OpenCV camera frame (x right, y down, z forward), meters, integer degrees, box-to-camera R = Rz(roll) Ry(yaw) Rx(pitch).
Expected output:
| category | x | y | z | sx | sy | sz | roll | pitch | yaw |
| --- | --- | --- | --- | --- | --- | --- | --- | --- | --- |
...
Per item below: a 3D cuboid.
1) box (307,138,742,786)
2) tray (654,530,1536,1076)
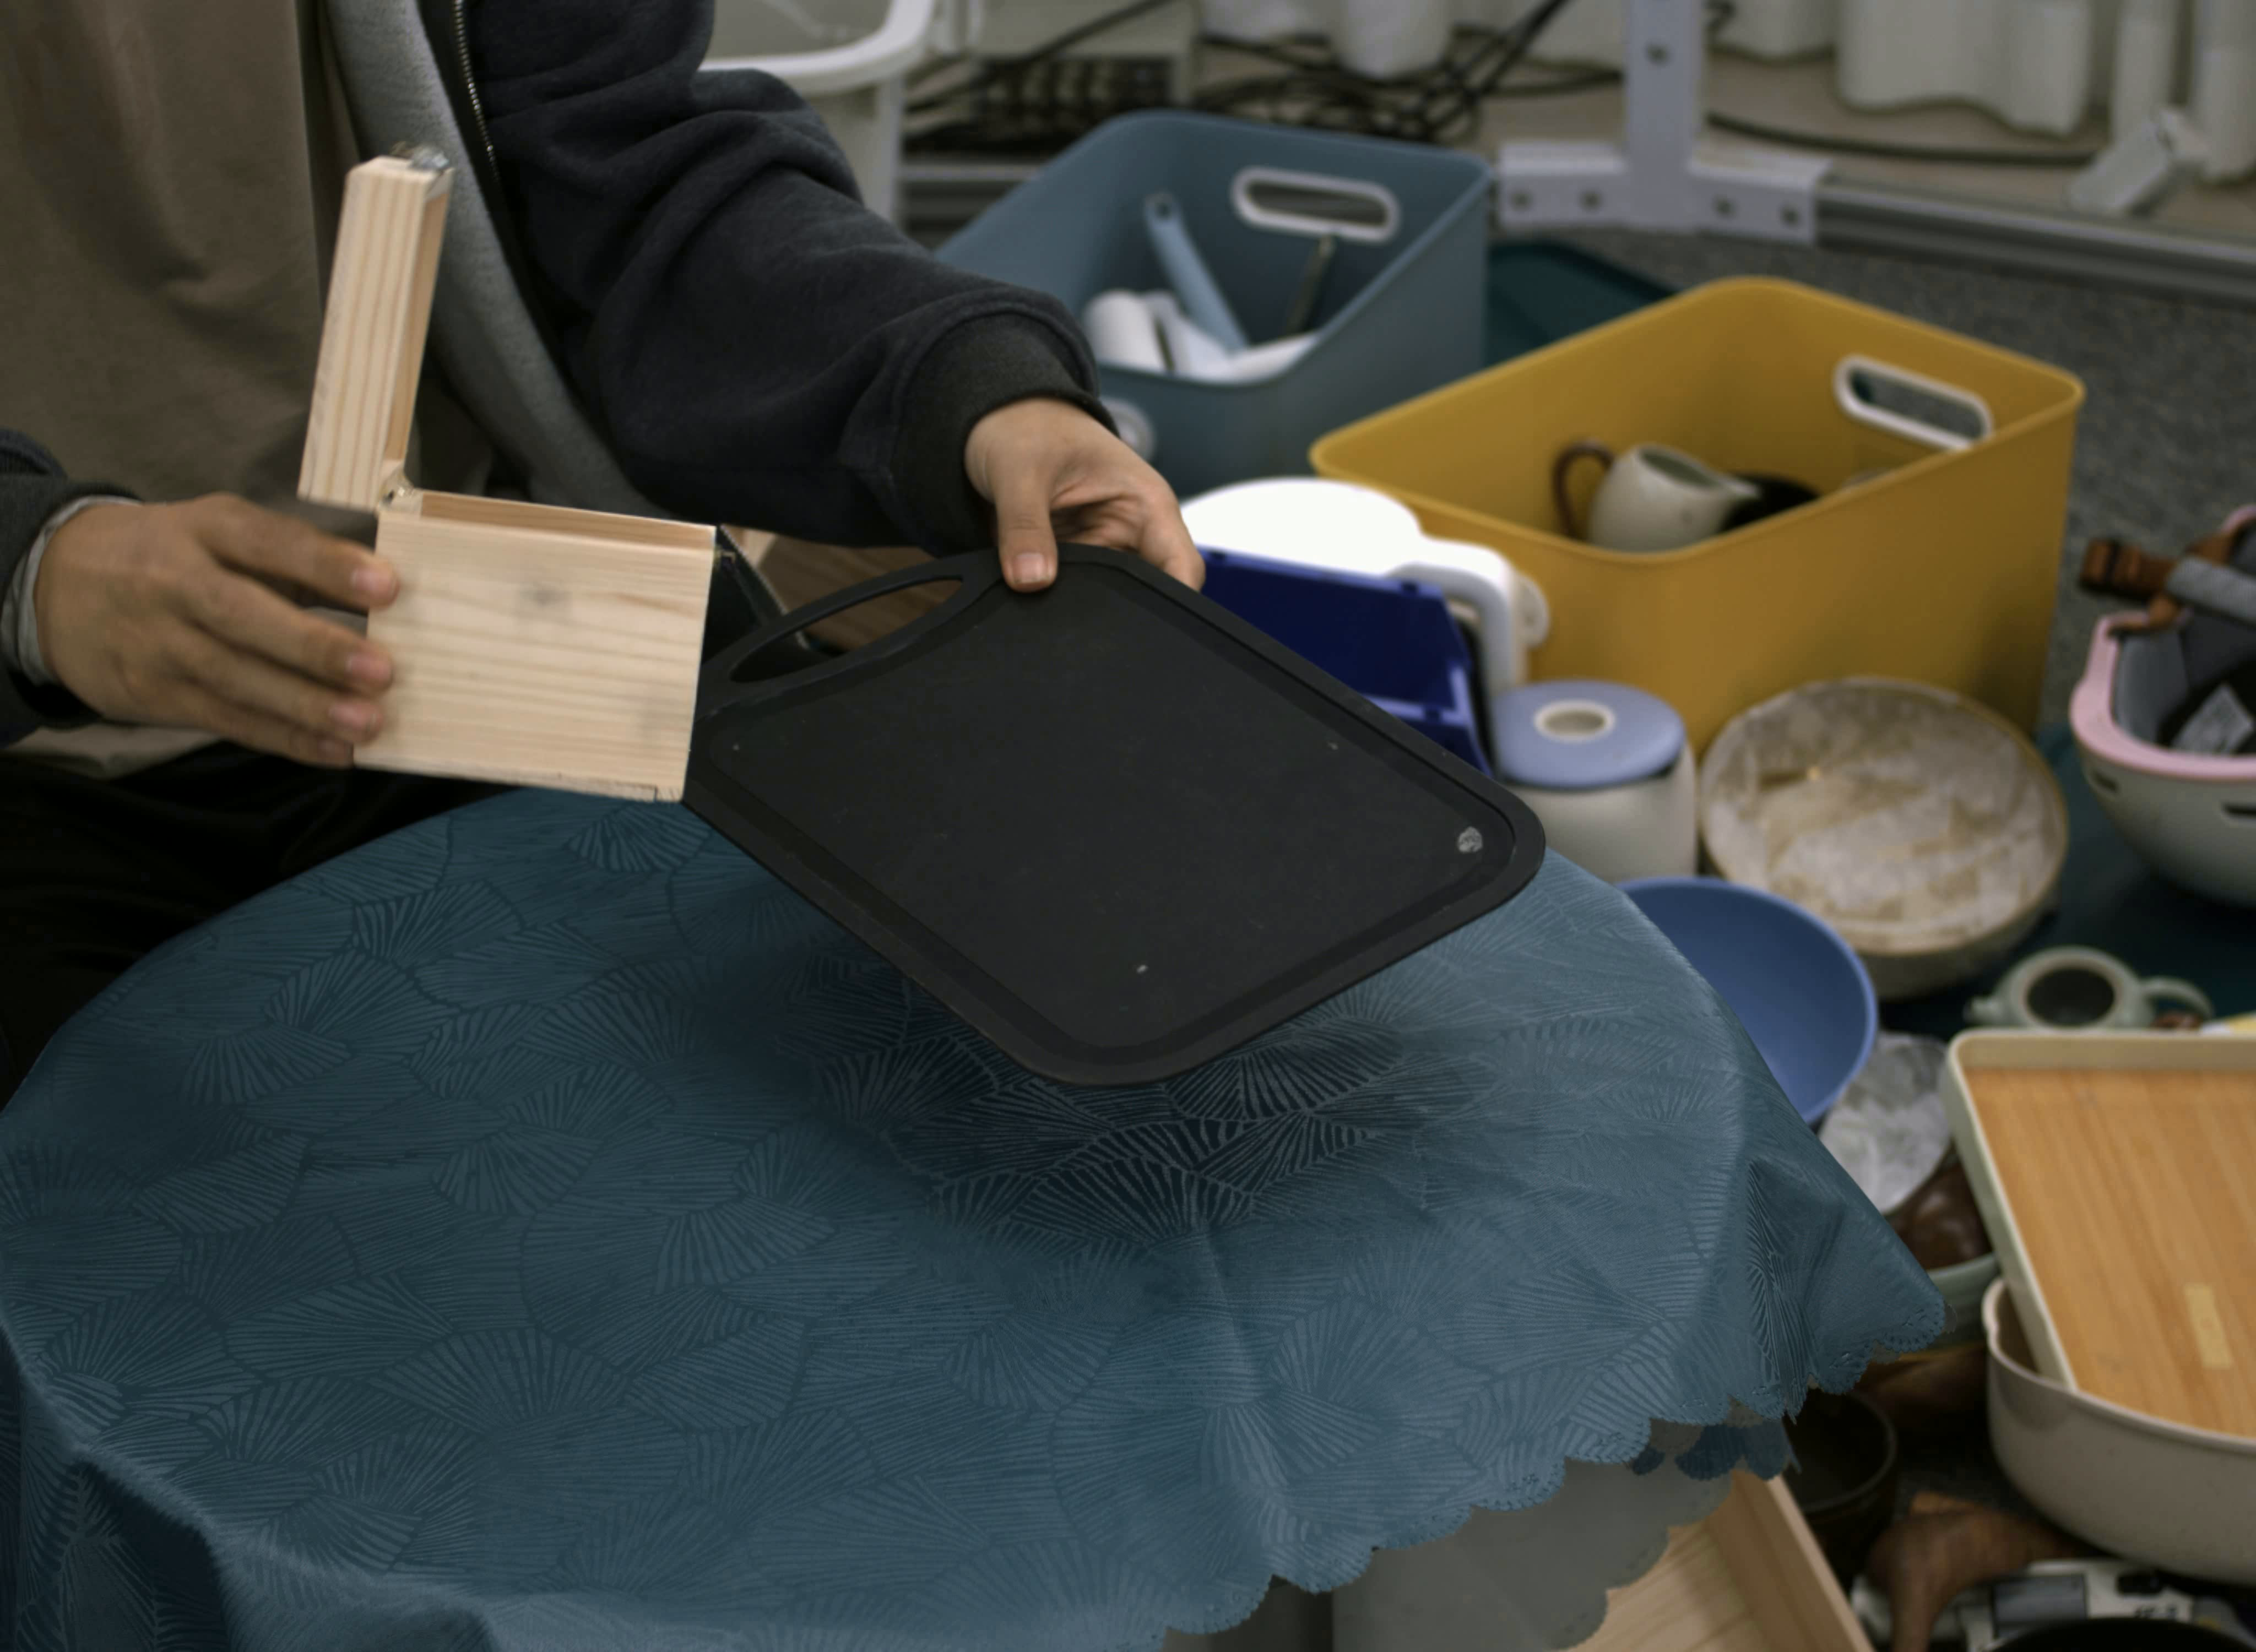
| category | x | y | z | sx | sy | sz | roll | pitch | yaw |
| --- | --- | --- | --- | --- | --- | --- | --- | --- | --- |
| box | -0.184 | -0.115 | 1.751 | 0.133 | 0.184 | 0.103 | 7 | 5 | -5 |
| tray | -0.024 | -0.018 | 1.937 | 0.213 | 0.009 | 0.326 | -26 | 38 | -26 |
